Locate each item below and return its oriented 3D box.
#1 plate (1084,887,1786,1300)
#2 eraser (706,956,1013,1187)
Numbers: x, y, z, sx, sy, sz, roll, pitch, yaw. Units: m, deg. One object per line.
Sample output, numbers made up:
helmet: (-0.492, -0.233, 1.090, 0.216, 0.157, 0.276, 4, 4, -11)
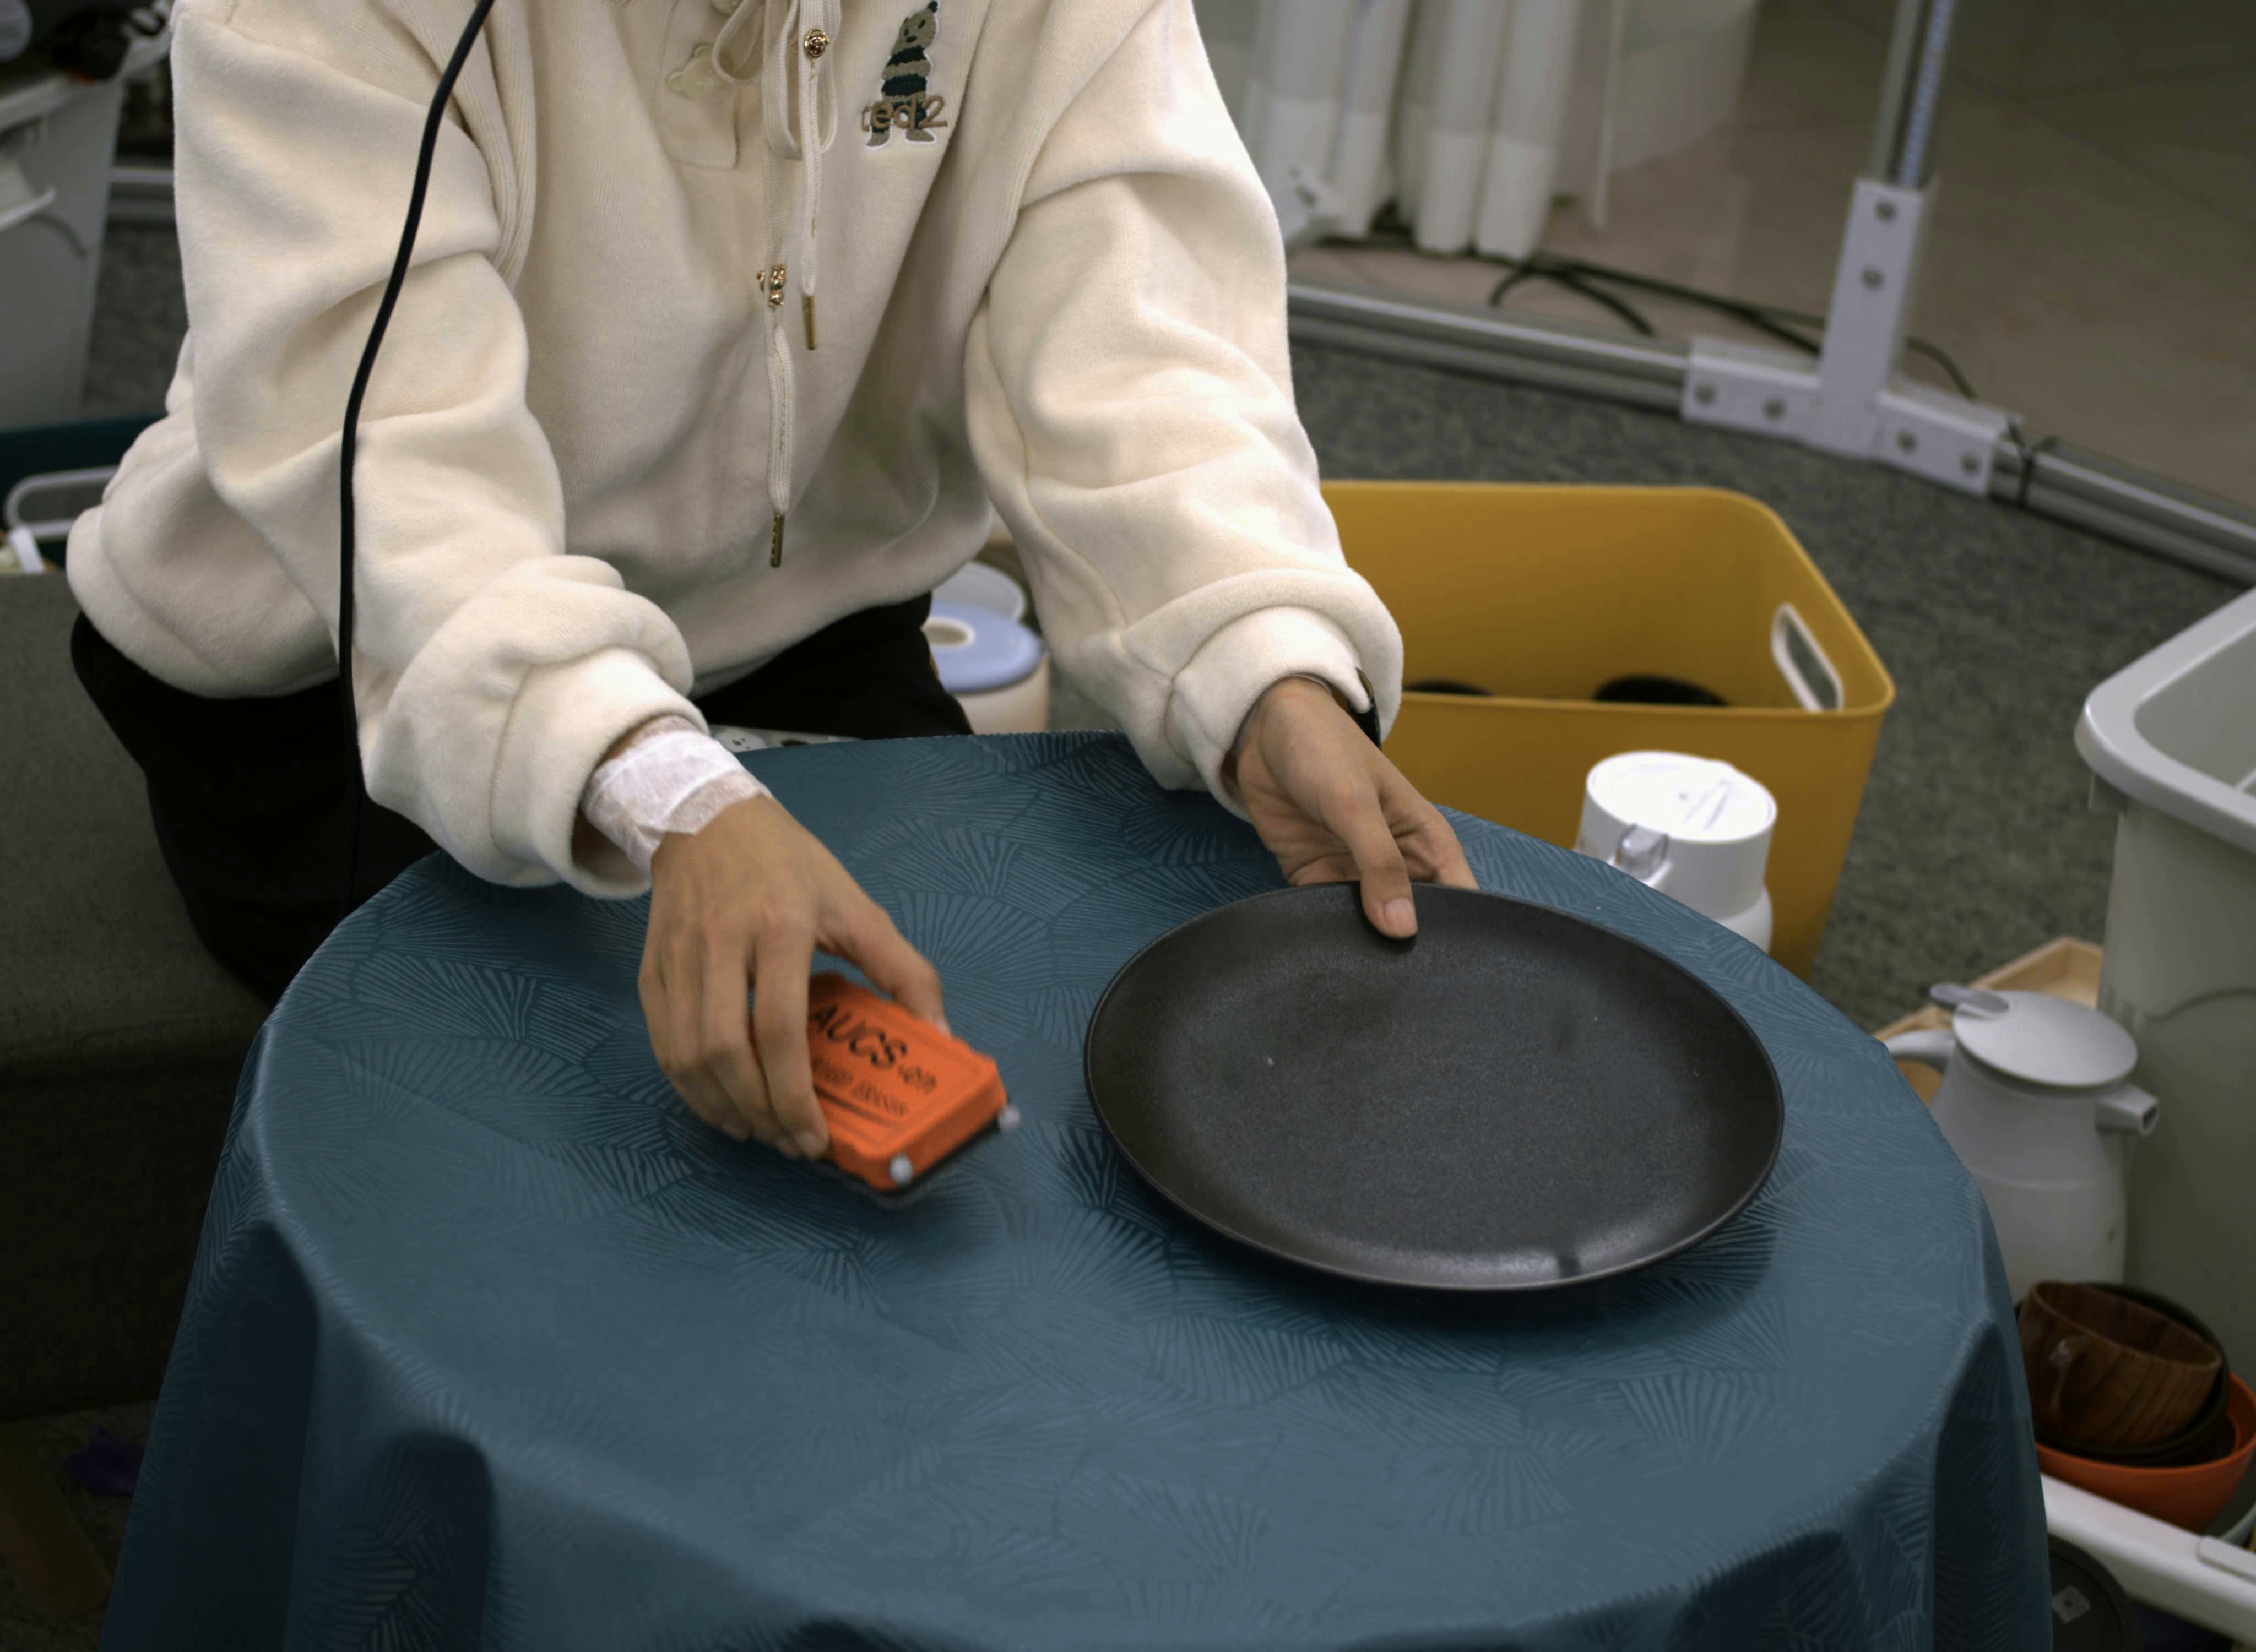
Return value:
plate: (0.105, 0.095, 1.839, 0.243, 0.023, 0.246, 3, 32, -2)
eraser: (-0.091, 0.082, 1.795, 0.059, 0.023, 0.109, -37, 37, -22)
